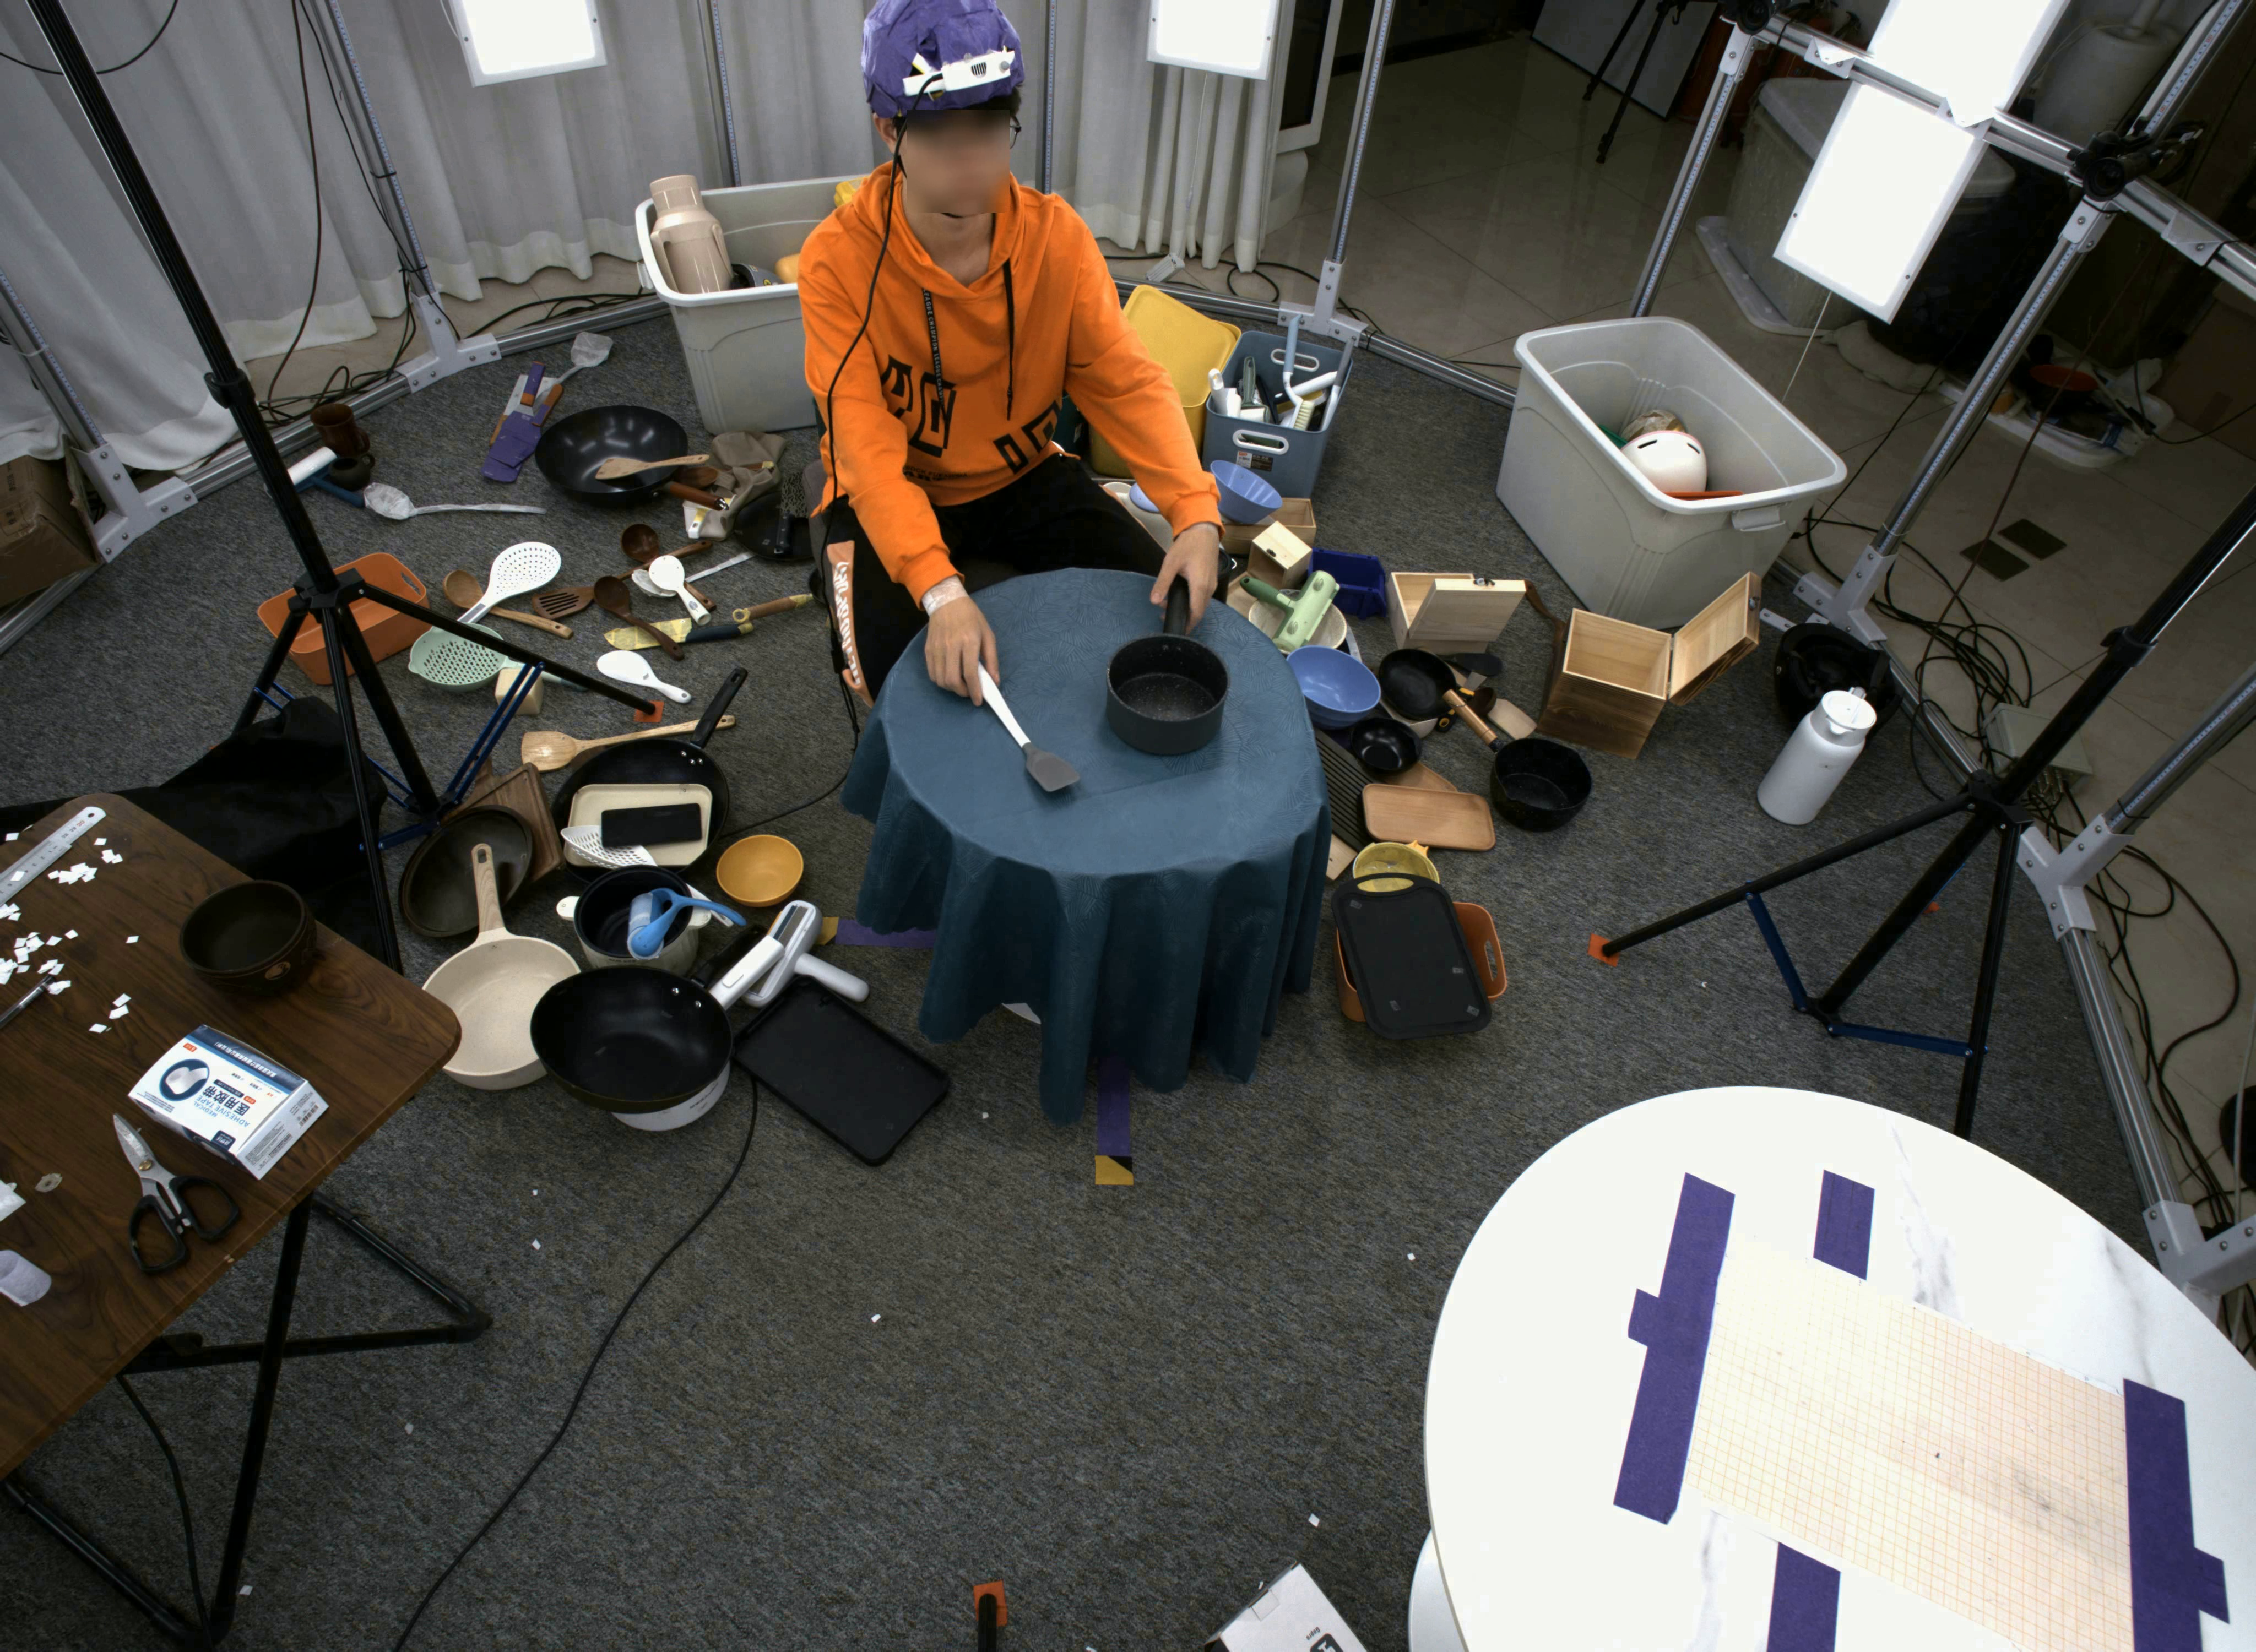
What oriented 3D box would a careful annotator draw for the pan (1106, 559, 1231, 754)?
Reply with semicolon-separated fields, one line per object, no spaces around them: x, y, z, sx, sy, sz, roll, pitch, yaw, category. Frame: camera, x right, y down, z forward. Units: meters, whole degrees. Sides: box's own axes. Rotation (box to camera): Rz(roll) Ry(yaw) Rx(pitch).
0.065;-0.244;1.831;0.172;0.084;0.336;9;51;3;pan

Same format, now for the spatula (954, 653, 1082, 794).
-0.157;-0.140;1.759;0.059;0.031;0.293;-22;53;-25;spatula
